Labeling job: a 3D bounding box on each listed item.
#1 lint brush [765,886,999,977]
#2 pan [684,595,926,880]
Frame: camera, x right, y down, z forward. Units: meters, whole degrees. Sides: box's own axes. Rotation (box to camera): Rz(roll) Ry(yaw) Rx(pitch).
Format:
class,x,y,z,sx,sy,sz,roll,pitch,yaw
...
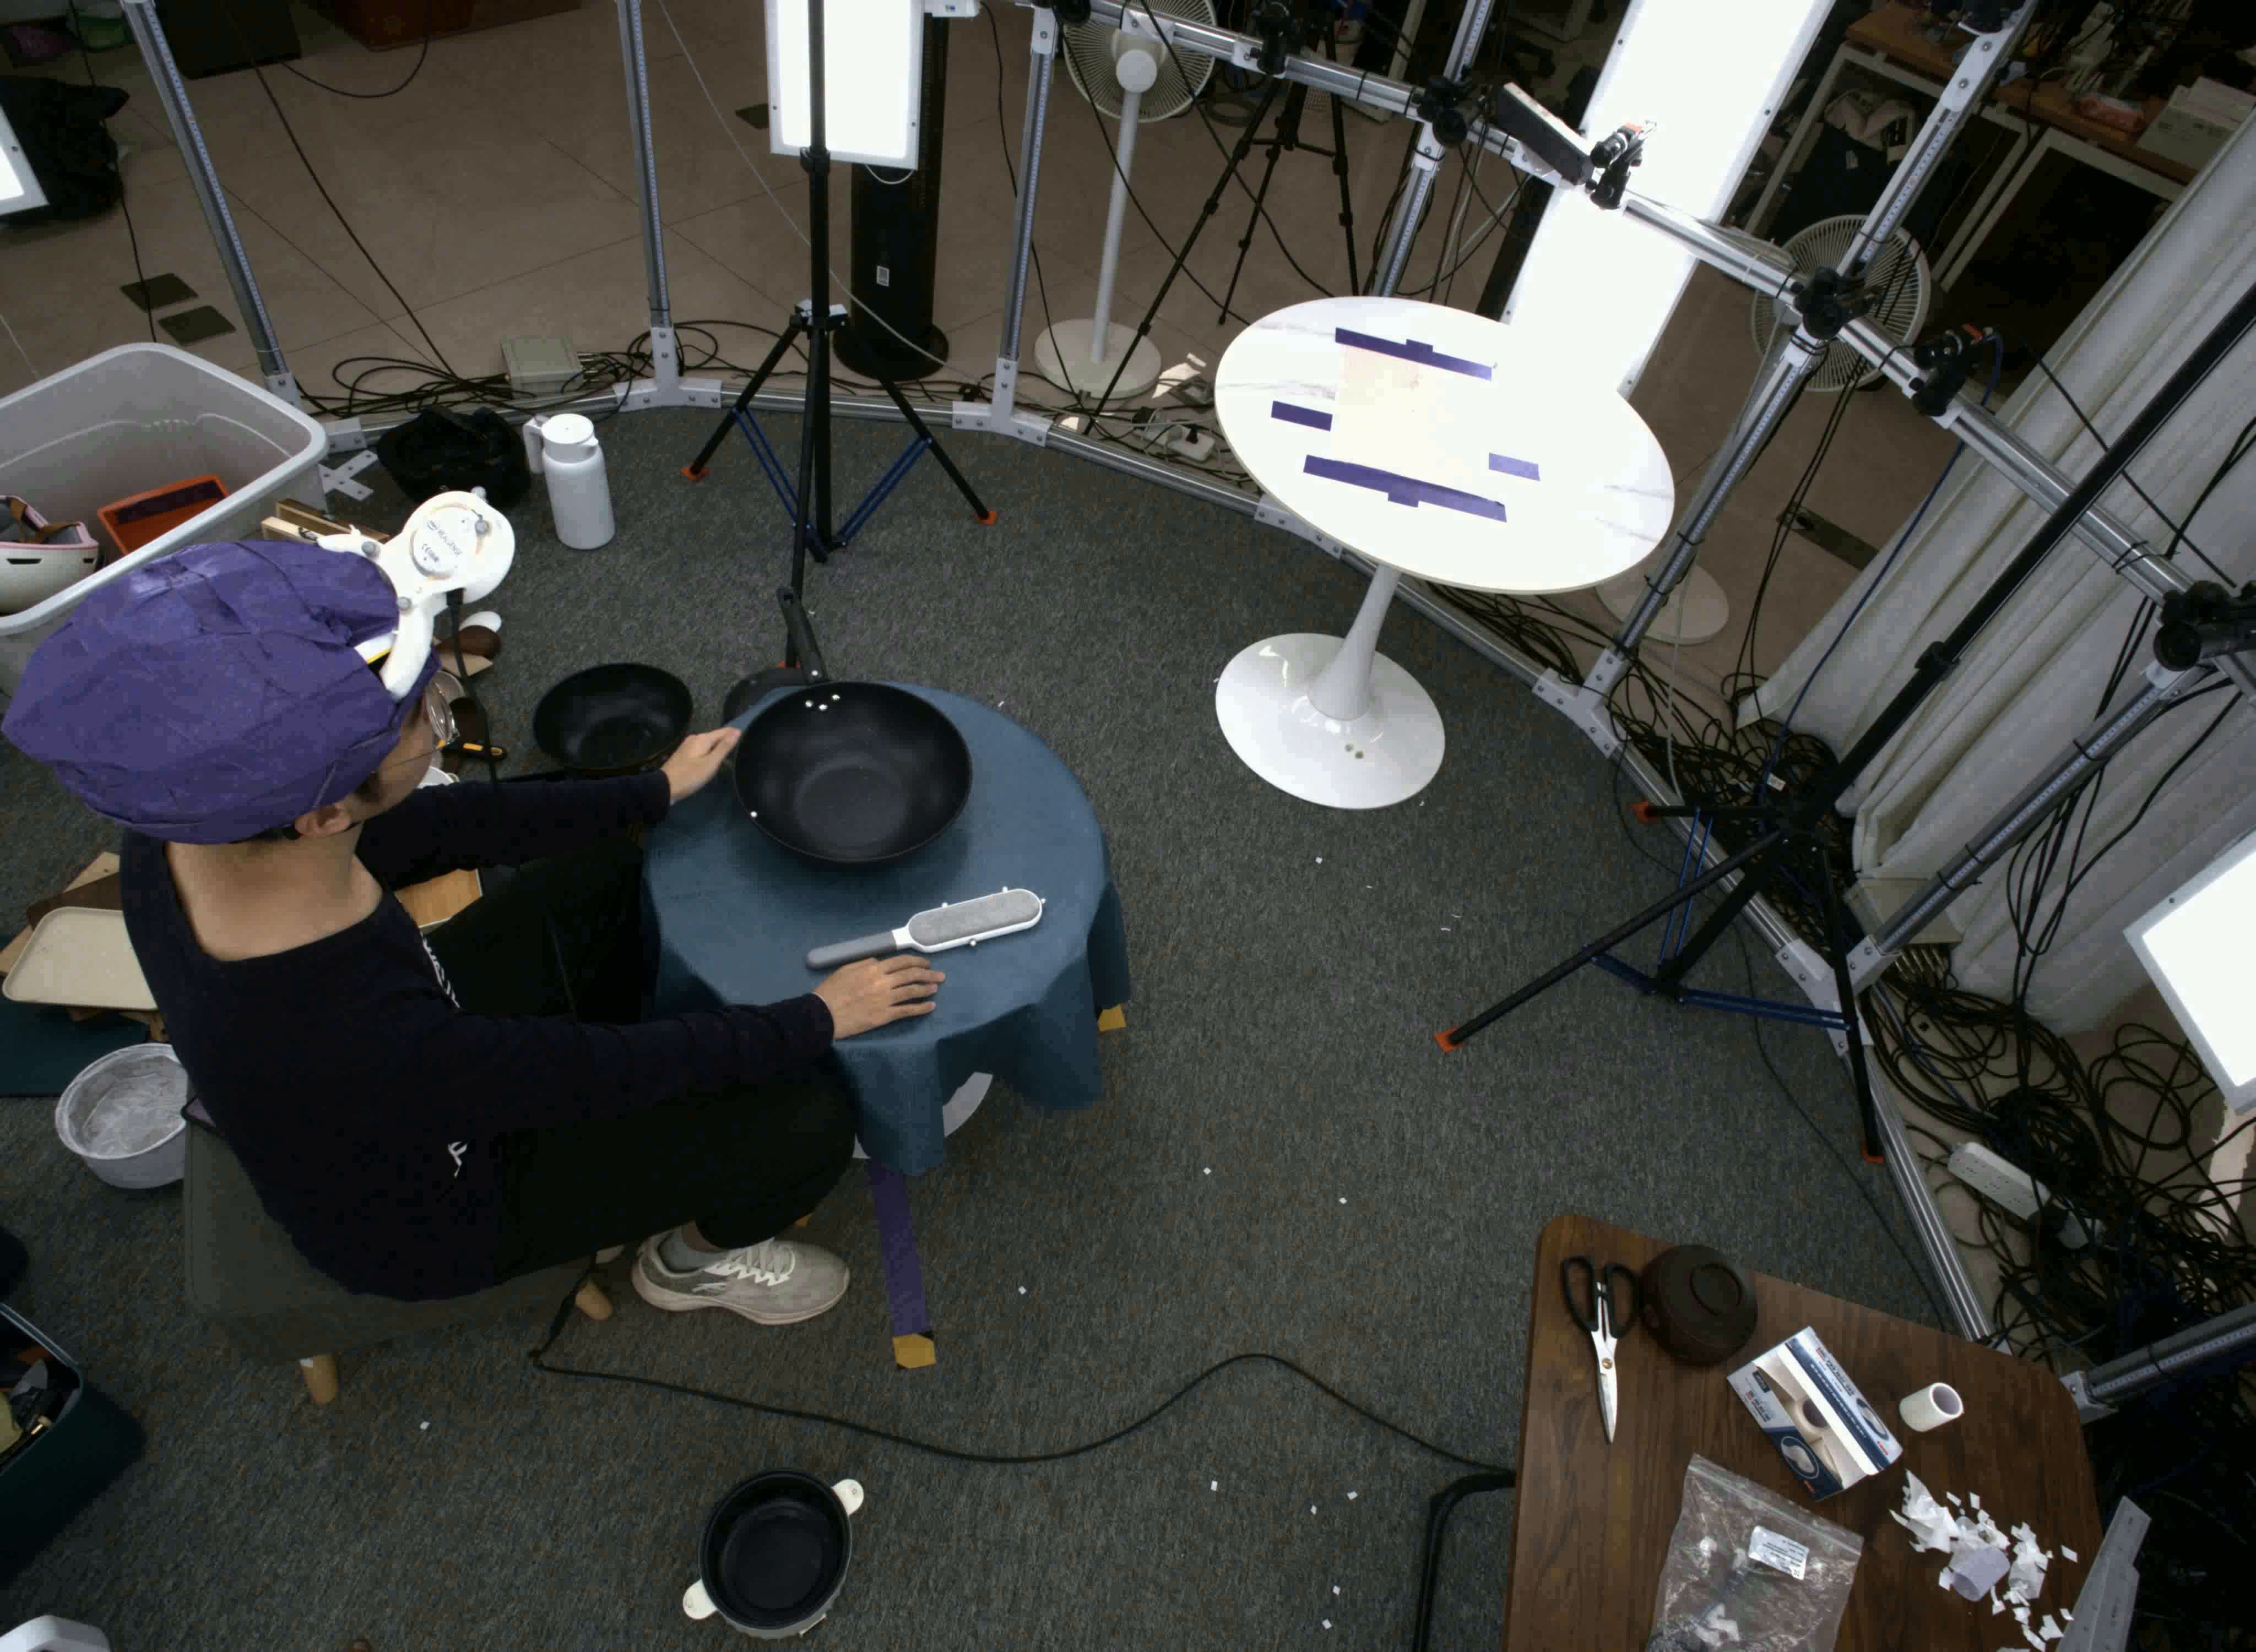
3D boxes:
class,x,y,z,sx,sy,sz,roll,pitch,yaw
lint brush,-0.308,0.134,1.649,0.310,0.021,0.059,-16,65,-24
pan,-0.460,-0.112,1.740,0.312,0.114,0.465,-17,60,-26
